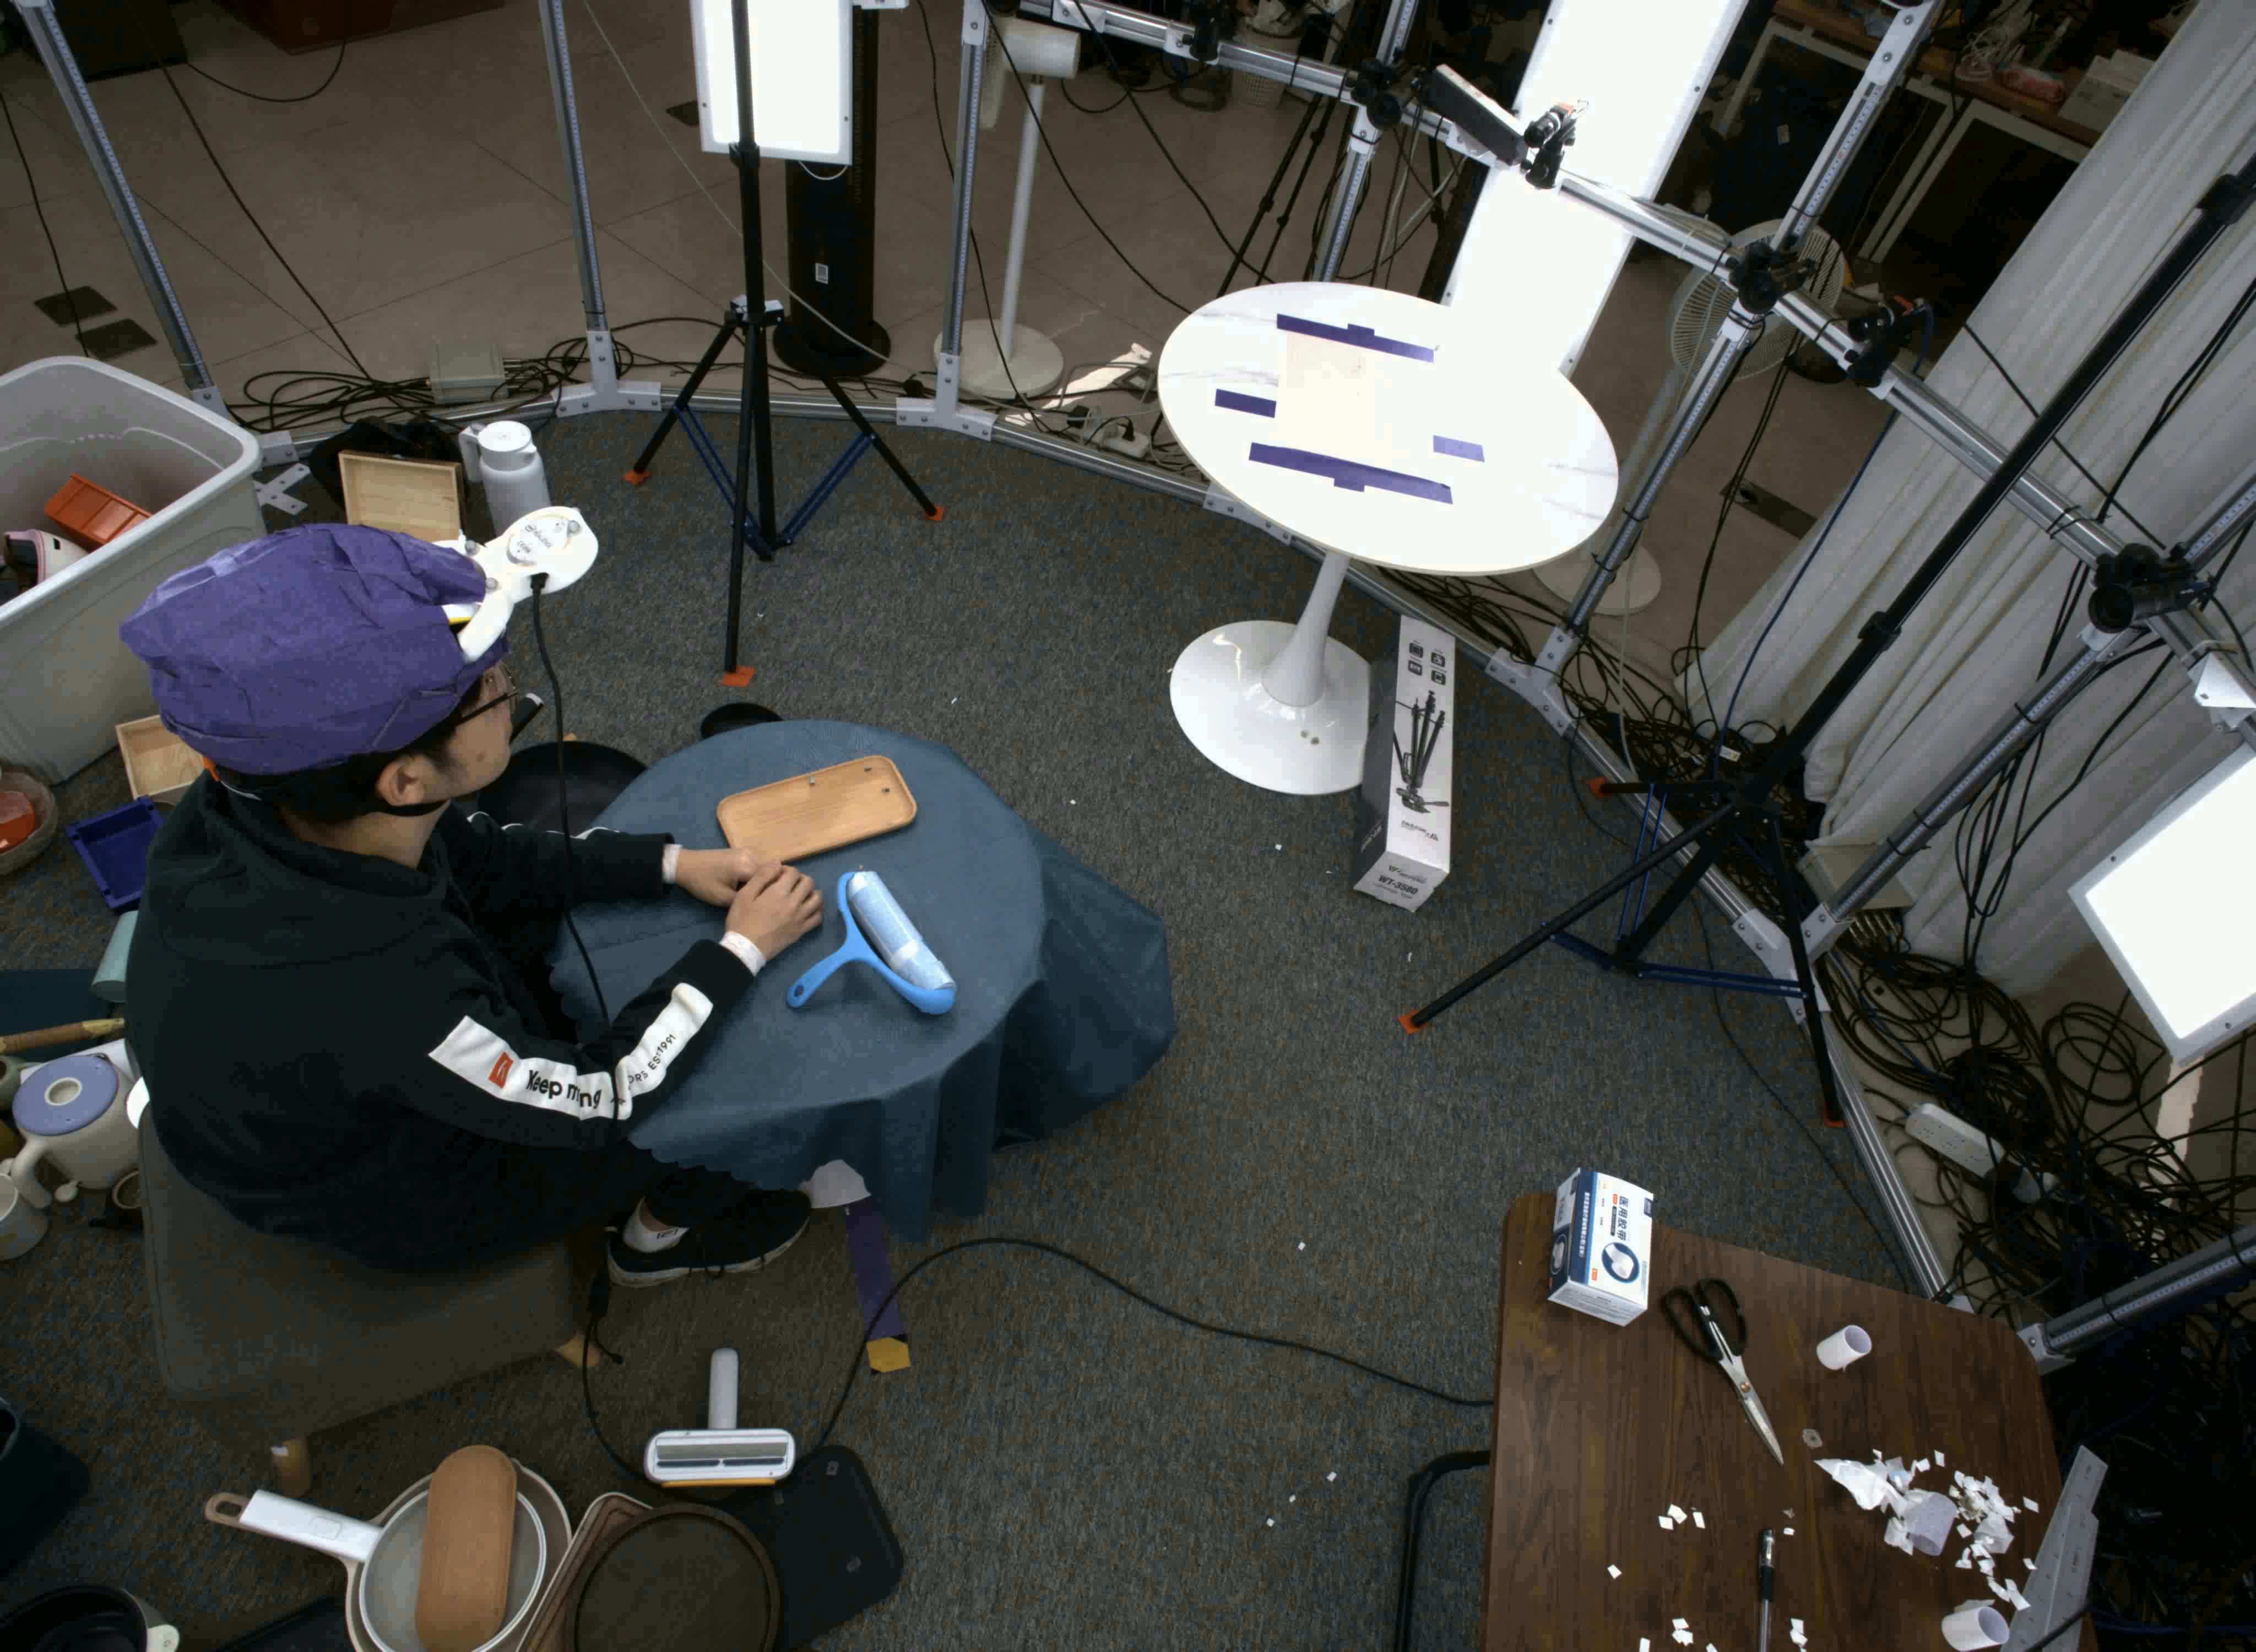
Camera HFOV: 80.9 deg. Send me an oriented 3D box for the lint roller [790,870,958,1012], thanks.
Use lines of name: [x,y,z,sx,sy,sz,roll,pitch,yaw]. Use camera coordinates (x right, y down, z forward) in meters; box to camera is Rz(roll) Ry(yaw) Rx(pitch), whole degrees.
lint roller: [-0.332,0.163,1.596,0.181,0.069,0.224,-29,67,-32]

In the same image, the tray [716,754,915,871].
tray: [-0.416,-0.021,1.736,0.252,0.023,0.127,-18,59,-25]
